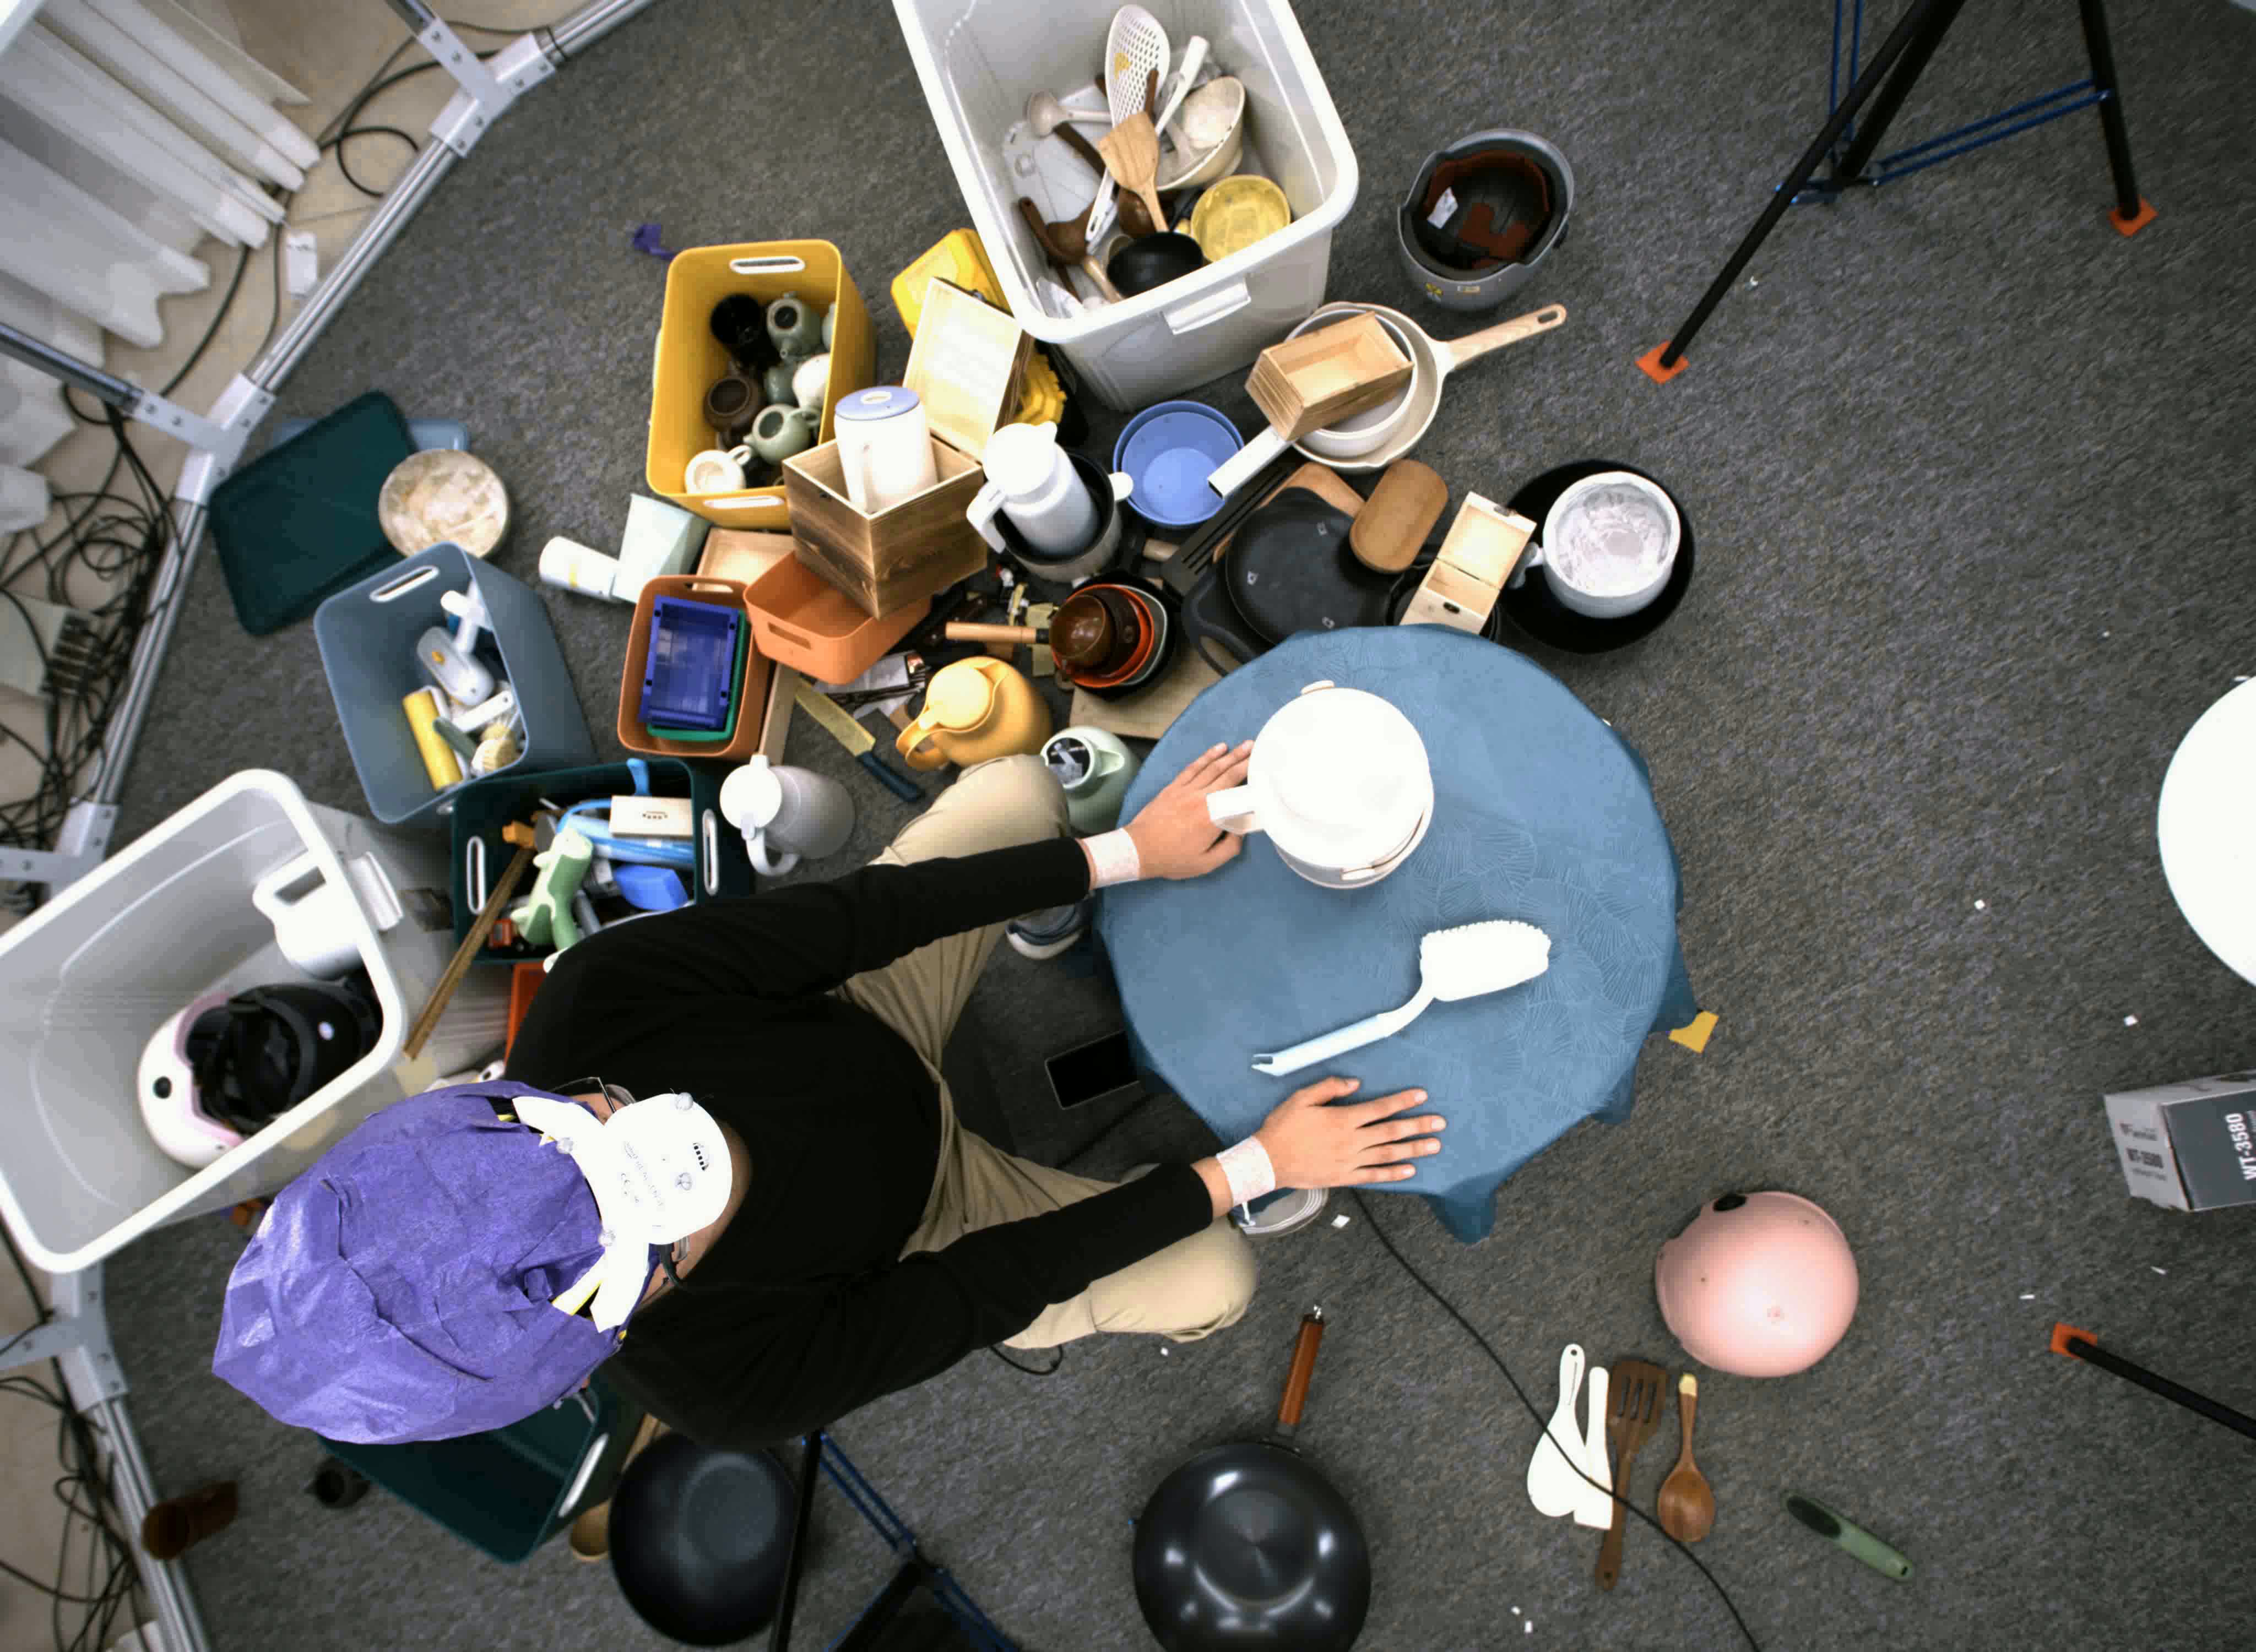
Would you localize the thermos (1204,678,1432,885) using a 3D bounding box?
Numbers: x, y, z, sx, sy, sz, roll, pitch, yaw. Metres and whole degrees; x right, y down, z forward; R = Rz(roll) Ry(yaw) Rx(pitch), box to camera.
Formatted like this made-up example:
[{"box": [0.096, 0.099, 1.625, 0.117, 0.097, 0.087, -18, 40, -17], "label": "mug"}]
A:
[{"box": [0.181, -0.034, 1.281, 0.208, 0.406, 0.174, -13, 84, 8], "label": "thermos"}]

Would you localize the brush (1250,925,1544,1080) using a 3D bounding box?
[{"box": [0.269, 0.173, 1.415, 0.327, 0.083, 0.084, -22, 86, 7], "label": "brush"}]
